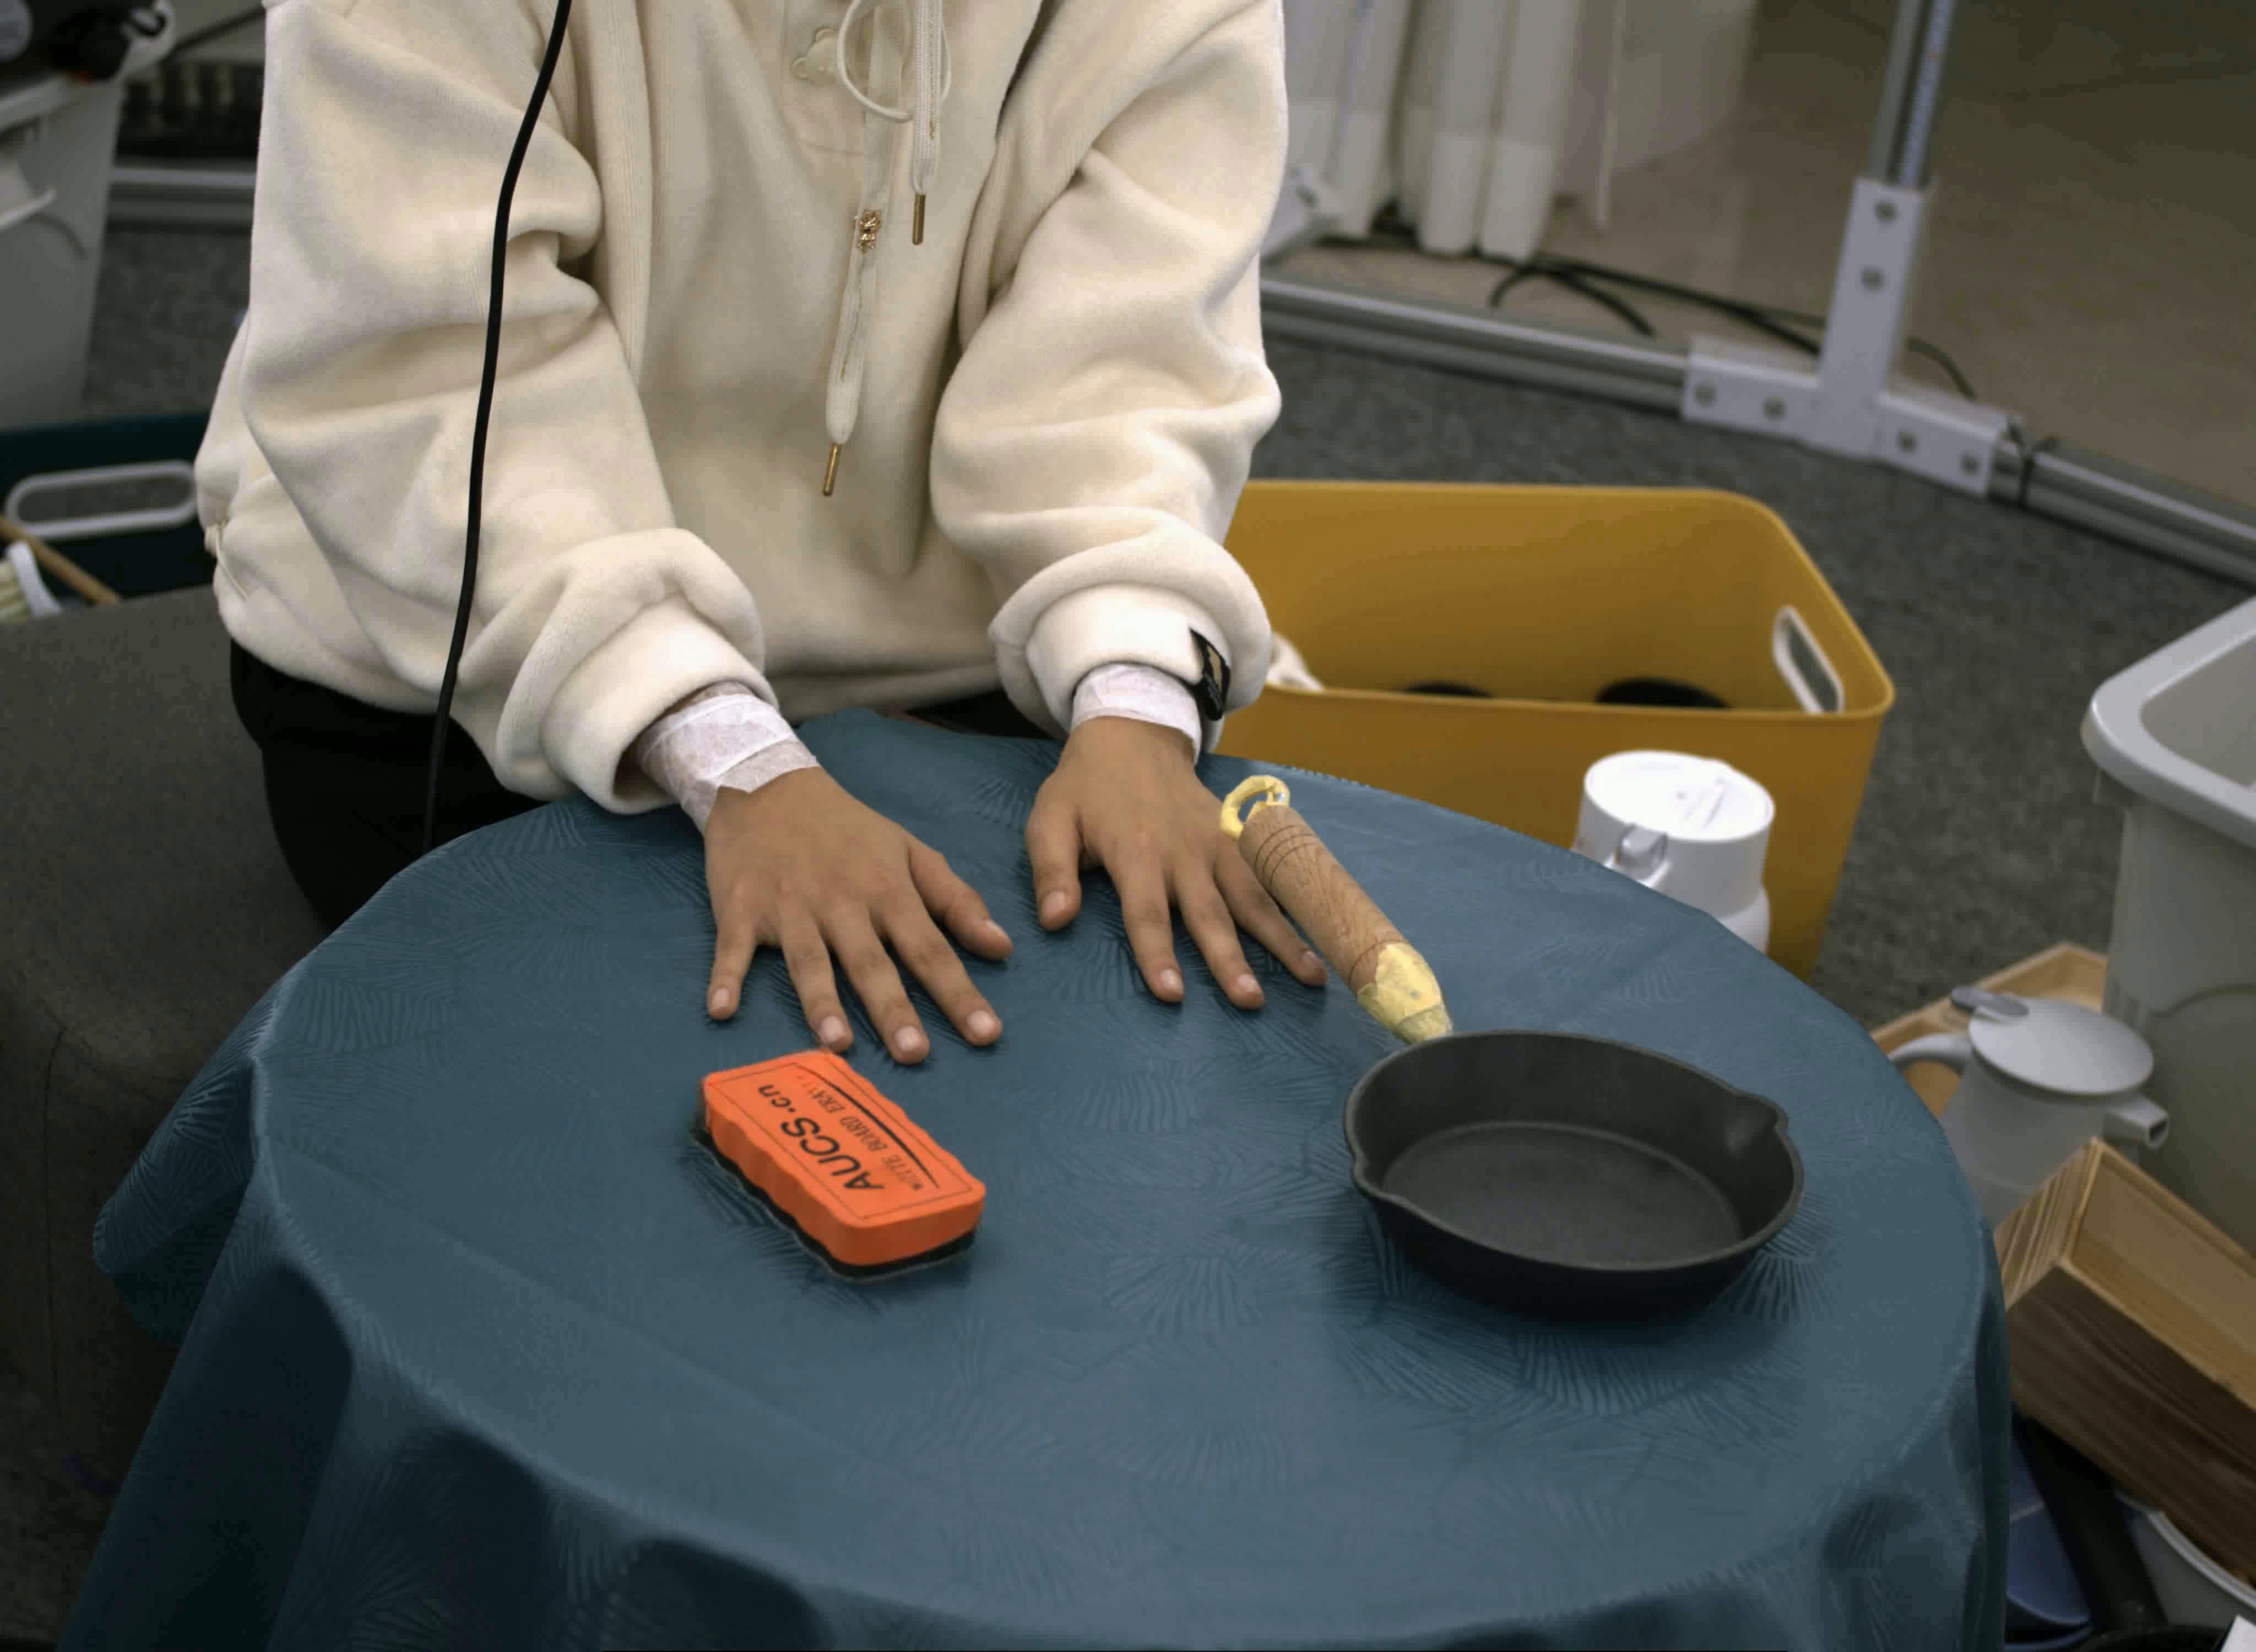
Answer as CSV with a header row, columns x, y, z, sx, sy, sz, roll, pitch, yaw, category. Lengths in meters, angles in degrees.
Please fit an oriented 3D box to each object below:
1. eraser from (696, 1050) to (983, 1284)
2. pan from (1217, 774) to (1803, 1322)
x,y,z,sx,sy,sz,roll,pitch,yaw,category
-0.097,0.113,1.776,0.058,0.023,0.109,-11,32,-31,eraser
0.113,0.075,1.866,0.168,0.049,0.327,-8,31,-25,pan
